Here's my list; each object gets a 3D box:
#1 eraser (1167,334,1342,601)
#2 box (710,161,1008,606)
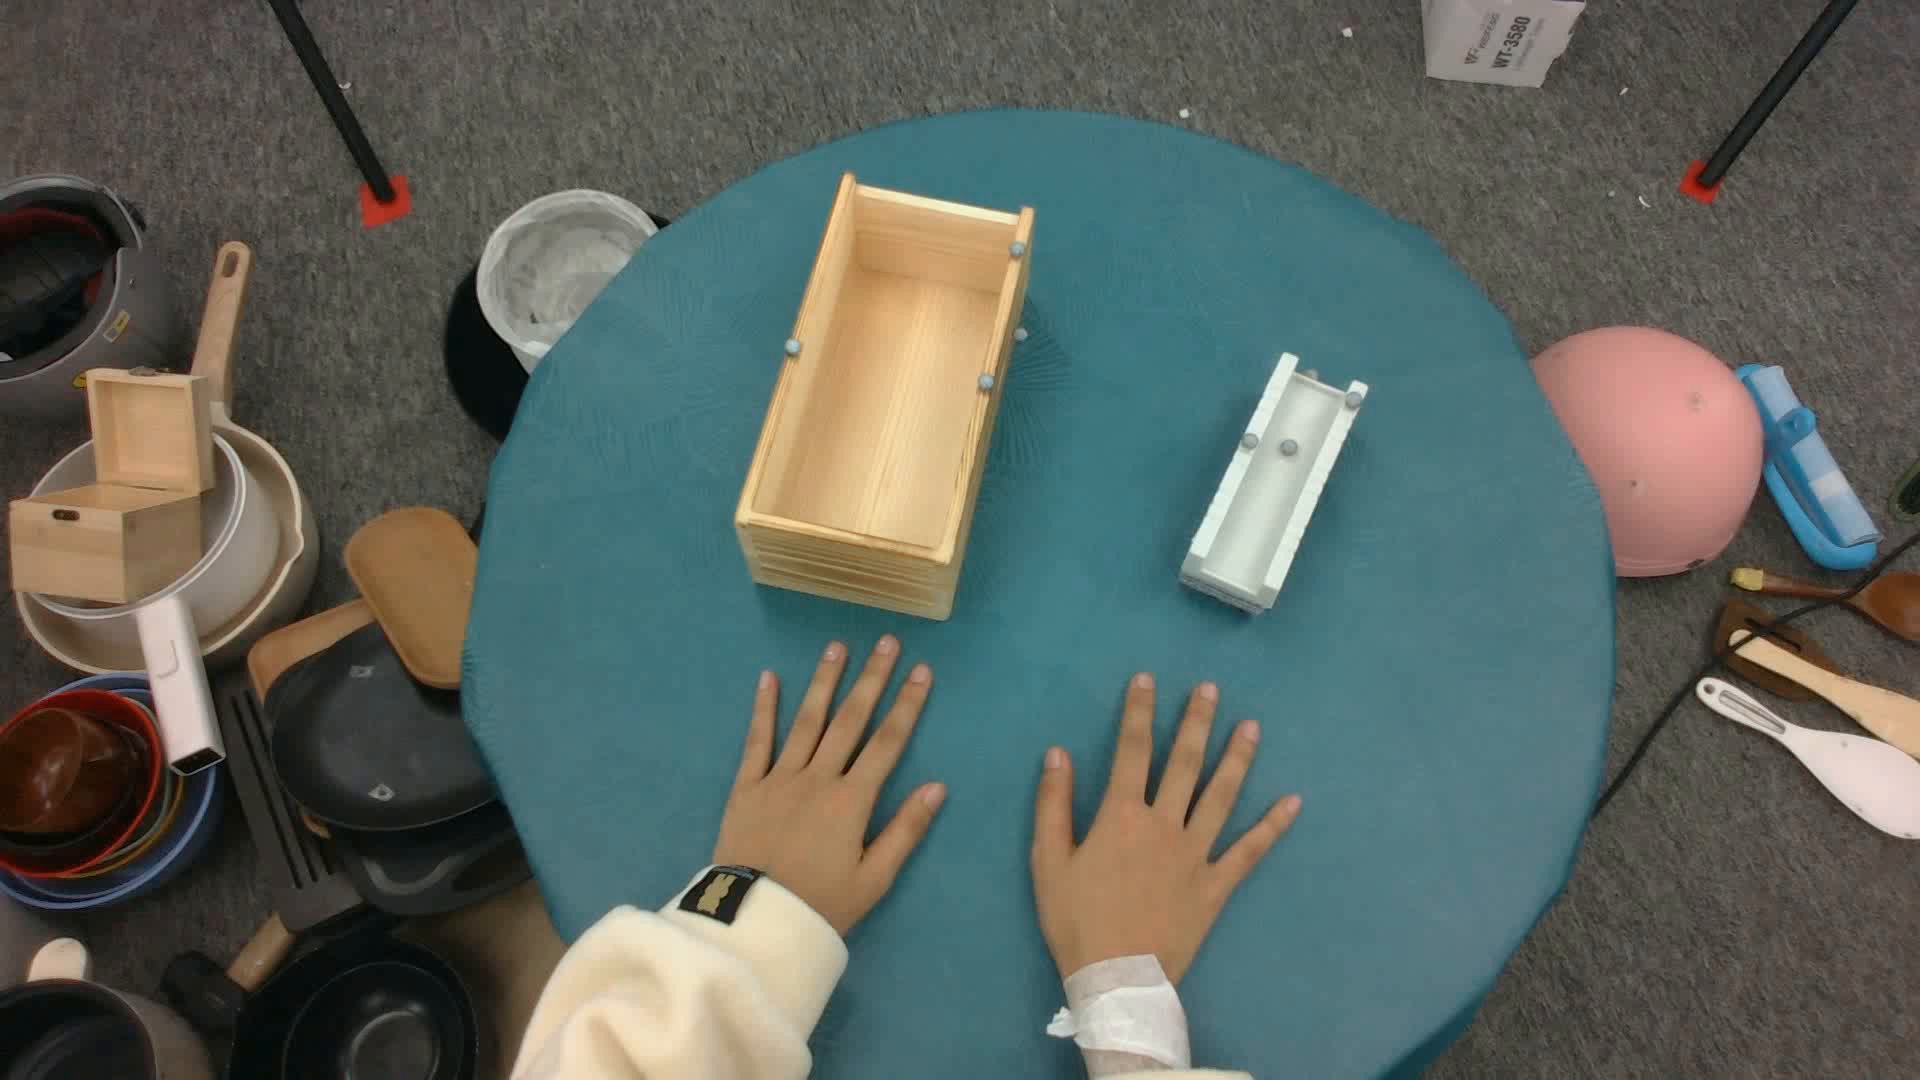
[{"bbox_3d":[0.155,-0.038,0.727,0.050,0.046,0.135,23,65,6],"label":"eraser"},{"bbox_3d":[-0.047,-0.084,0.721,0.107,0.080,0.212,10,65,3],"label":"box"}]
